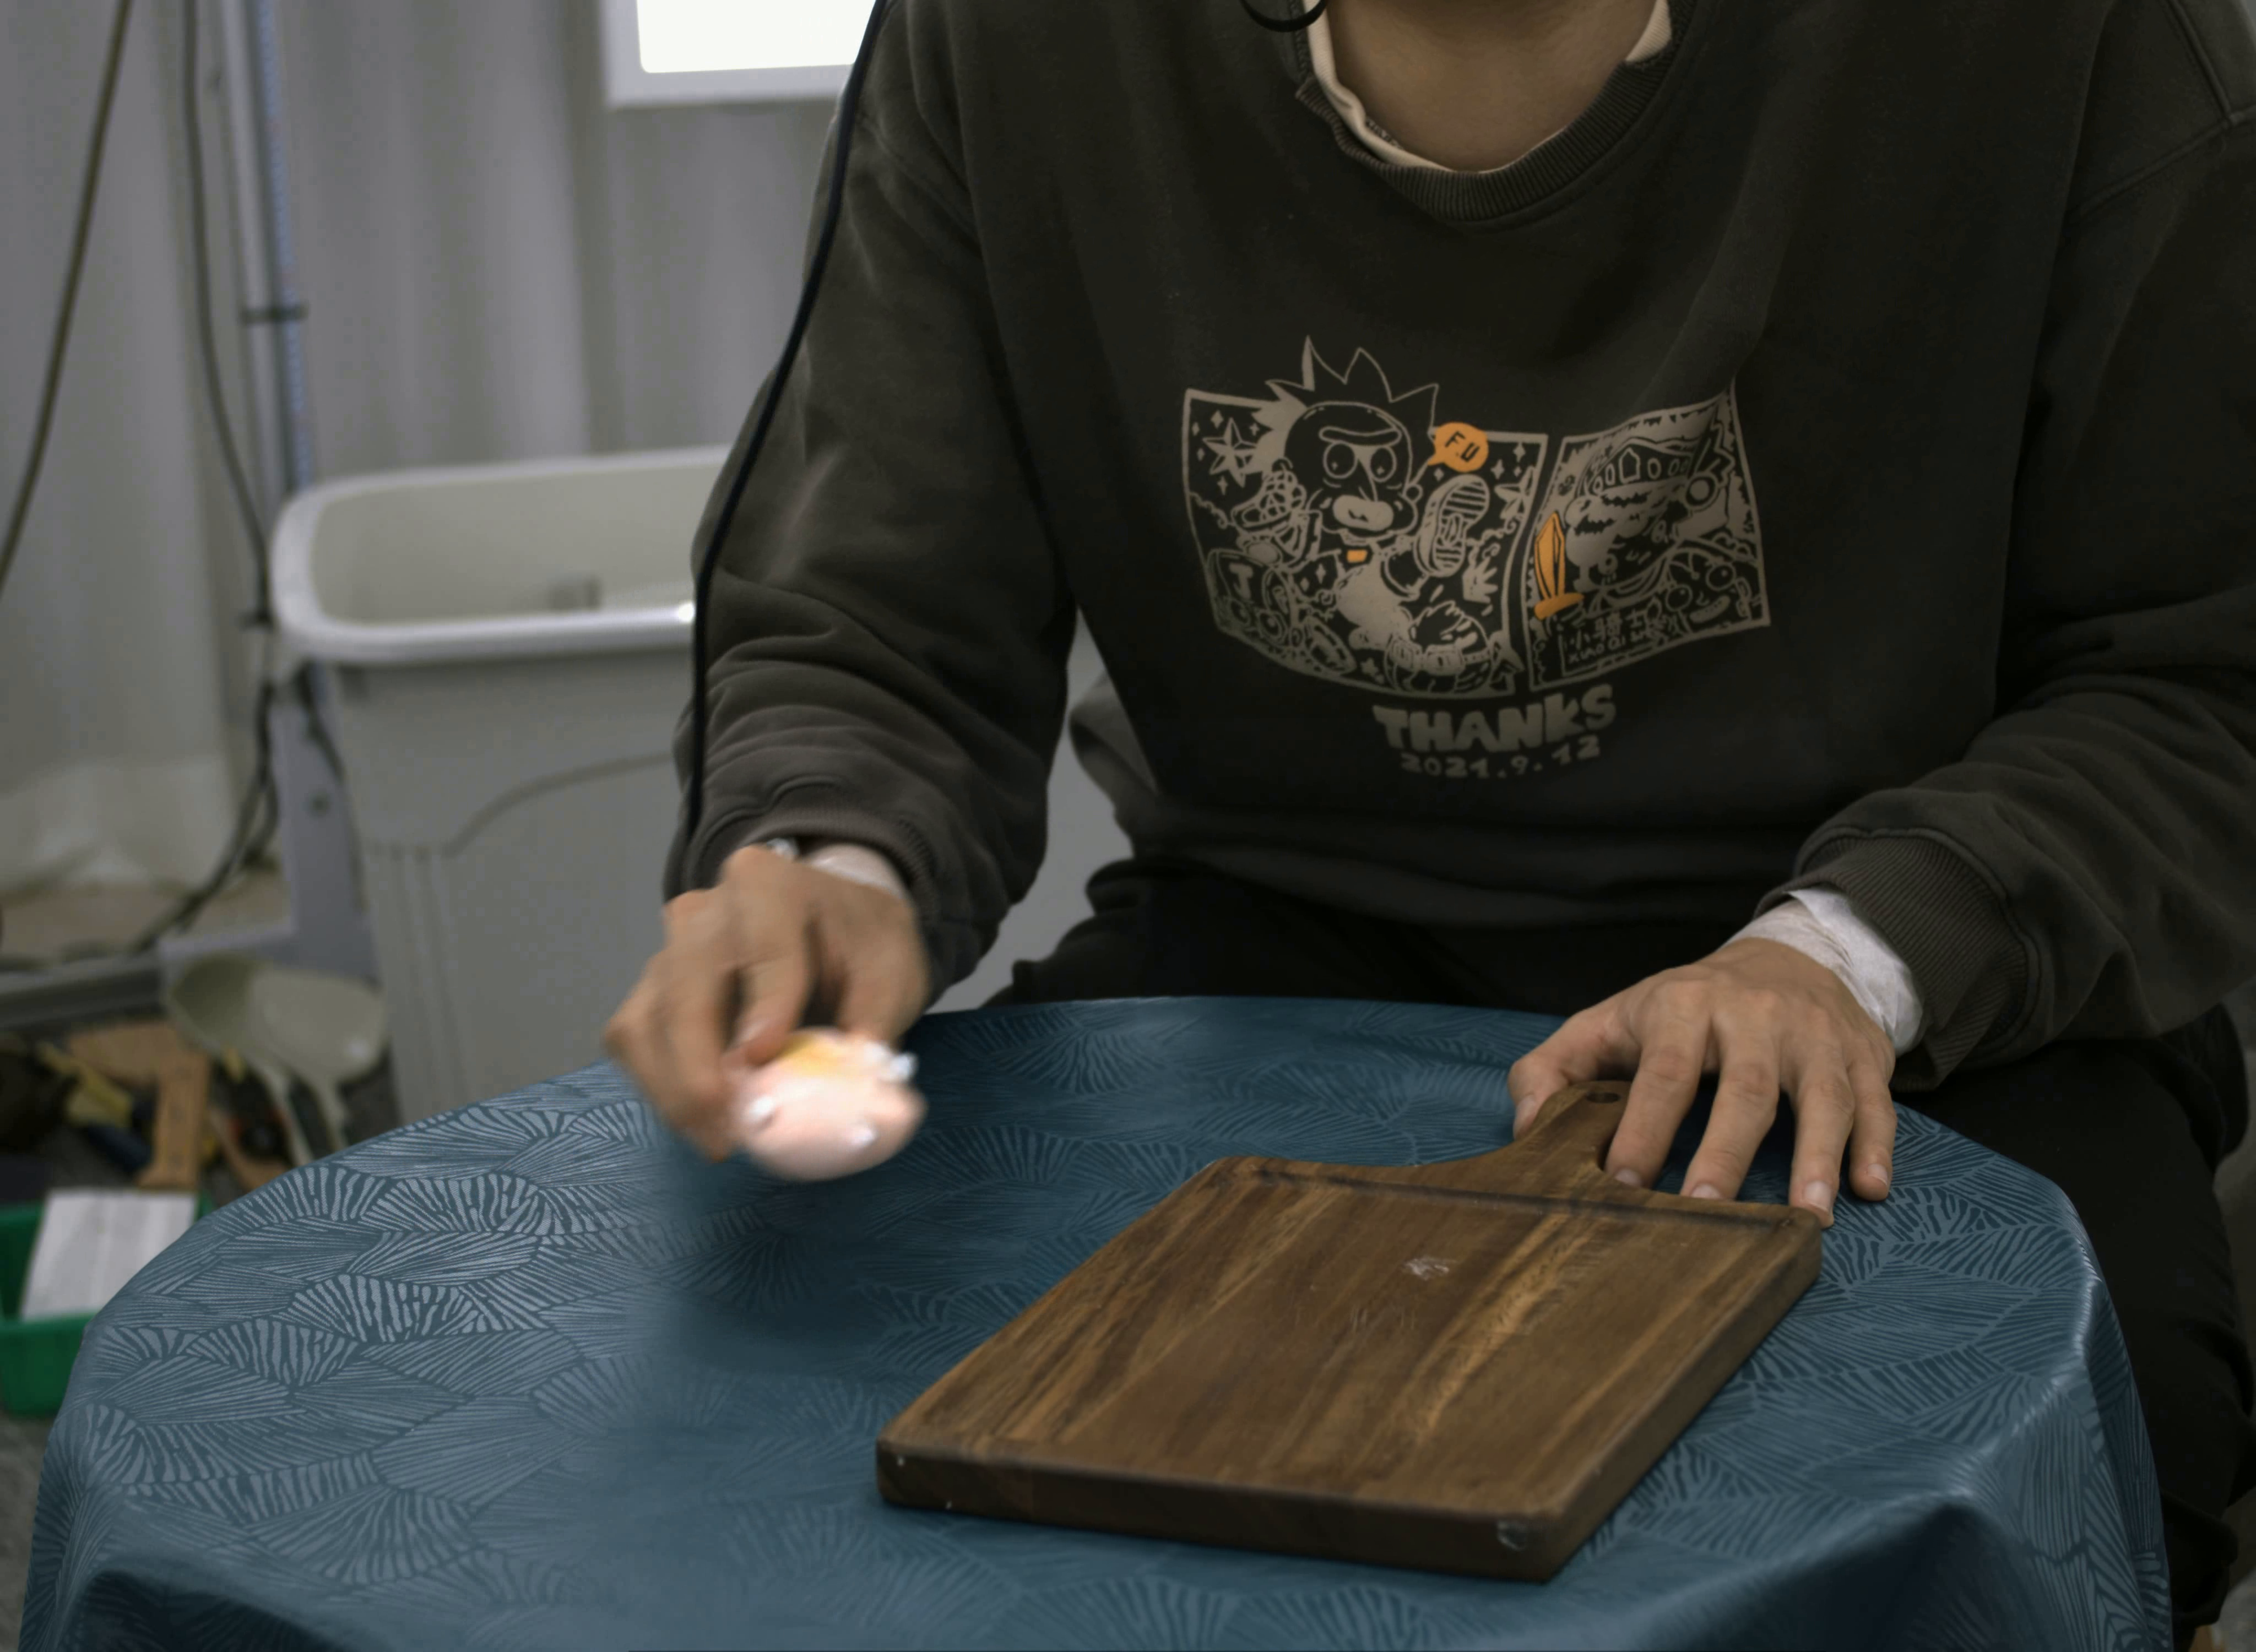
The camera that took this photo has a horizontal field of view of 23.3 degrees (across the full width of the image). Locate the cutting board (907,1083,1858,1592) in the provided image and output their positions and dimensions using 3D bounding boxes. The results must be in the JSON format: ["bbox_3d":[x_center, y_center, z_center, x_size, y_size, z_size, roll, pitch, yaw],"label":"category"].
[{"bbox_3d":[0.097,0.137,1.580,0.201,0.023,0.353,4,17,24],"label":"cutting board"}]

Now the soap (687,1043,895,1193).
[{"bbox_3d":[-0.100,0.086,1.626,0.050,0.030,0.095,-10,11,-13],"label":"soap"}]
